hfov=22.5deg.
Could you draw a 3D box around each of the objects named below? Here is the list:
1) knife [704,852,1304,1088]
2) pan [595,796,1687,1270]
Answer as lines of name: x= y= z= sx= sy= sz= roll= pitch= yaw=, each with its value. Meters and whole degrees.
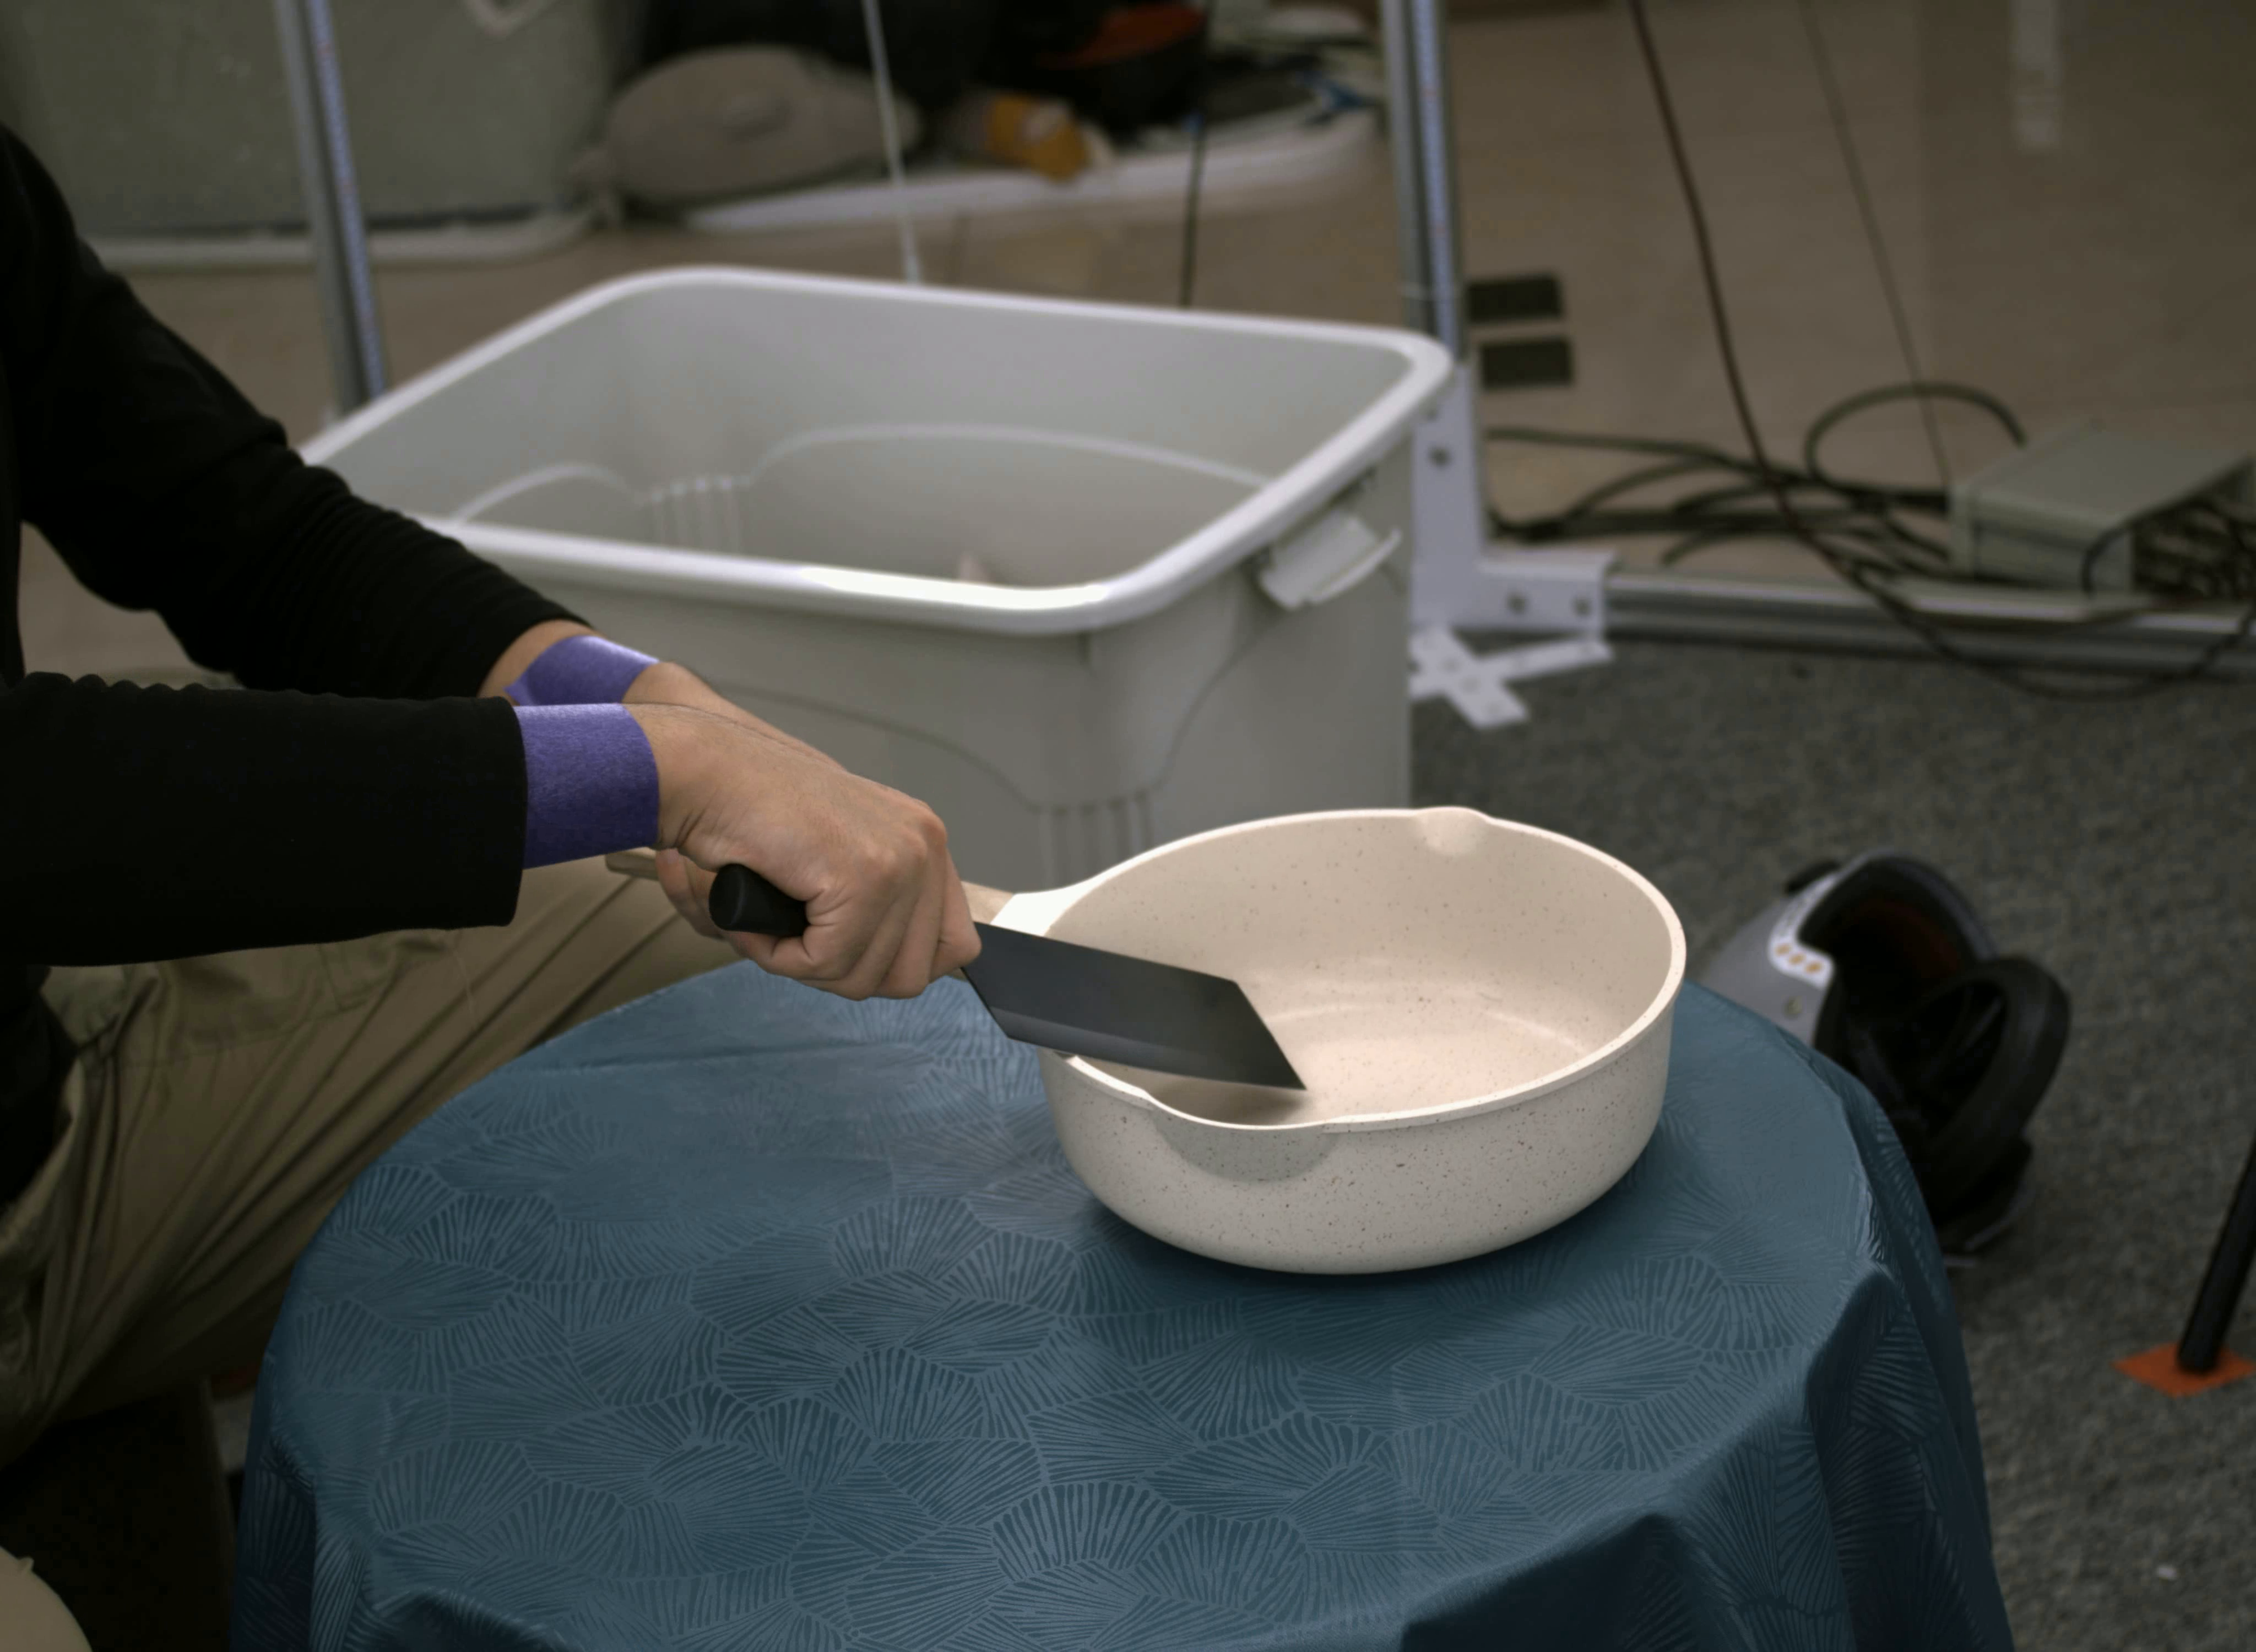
knife: x=-0.042 y=0.054 z=2.082 sx=0.304 sy=0.021 sz=0.079 roll=18 pitch=32 yaw=-45
pan: x=0.001 y=0.067 z=2.170 sx=0.433 sy=0.104 sz=0.259 roll=6 pitch=30 yaw=20
